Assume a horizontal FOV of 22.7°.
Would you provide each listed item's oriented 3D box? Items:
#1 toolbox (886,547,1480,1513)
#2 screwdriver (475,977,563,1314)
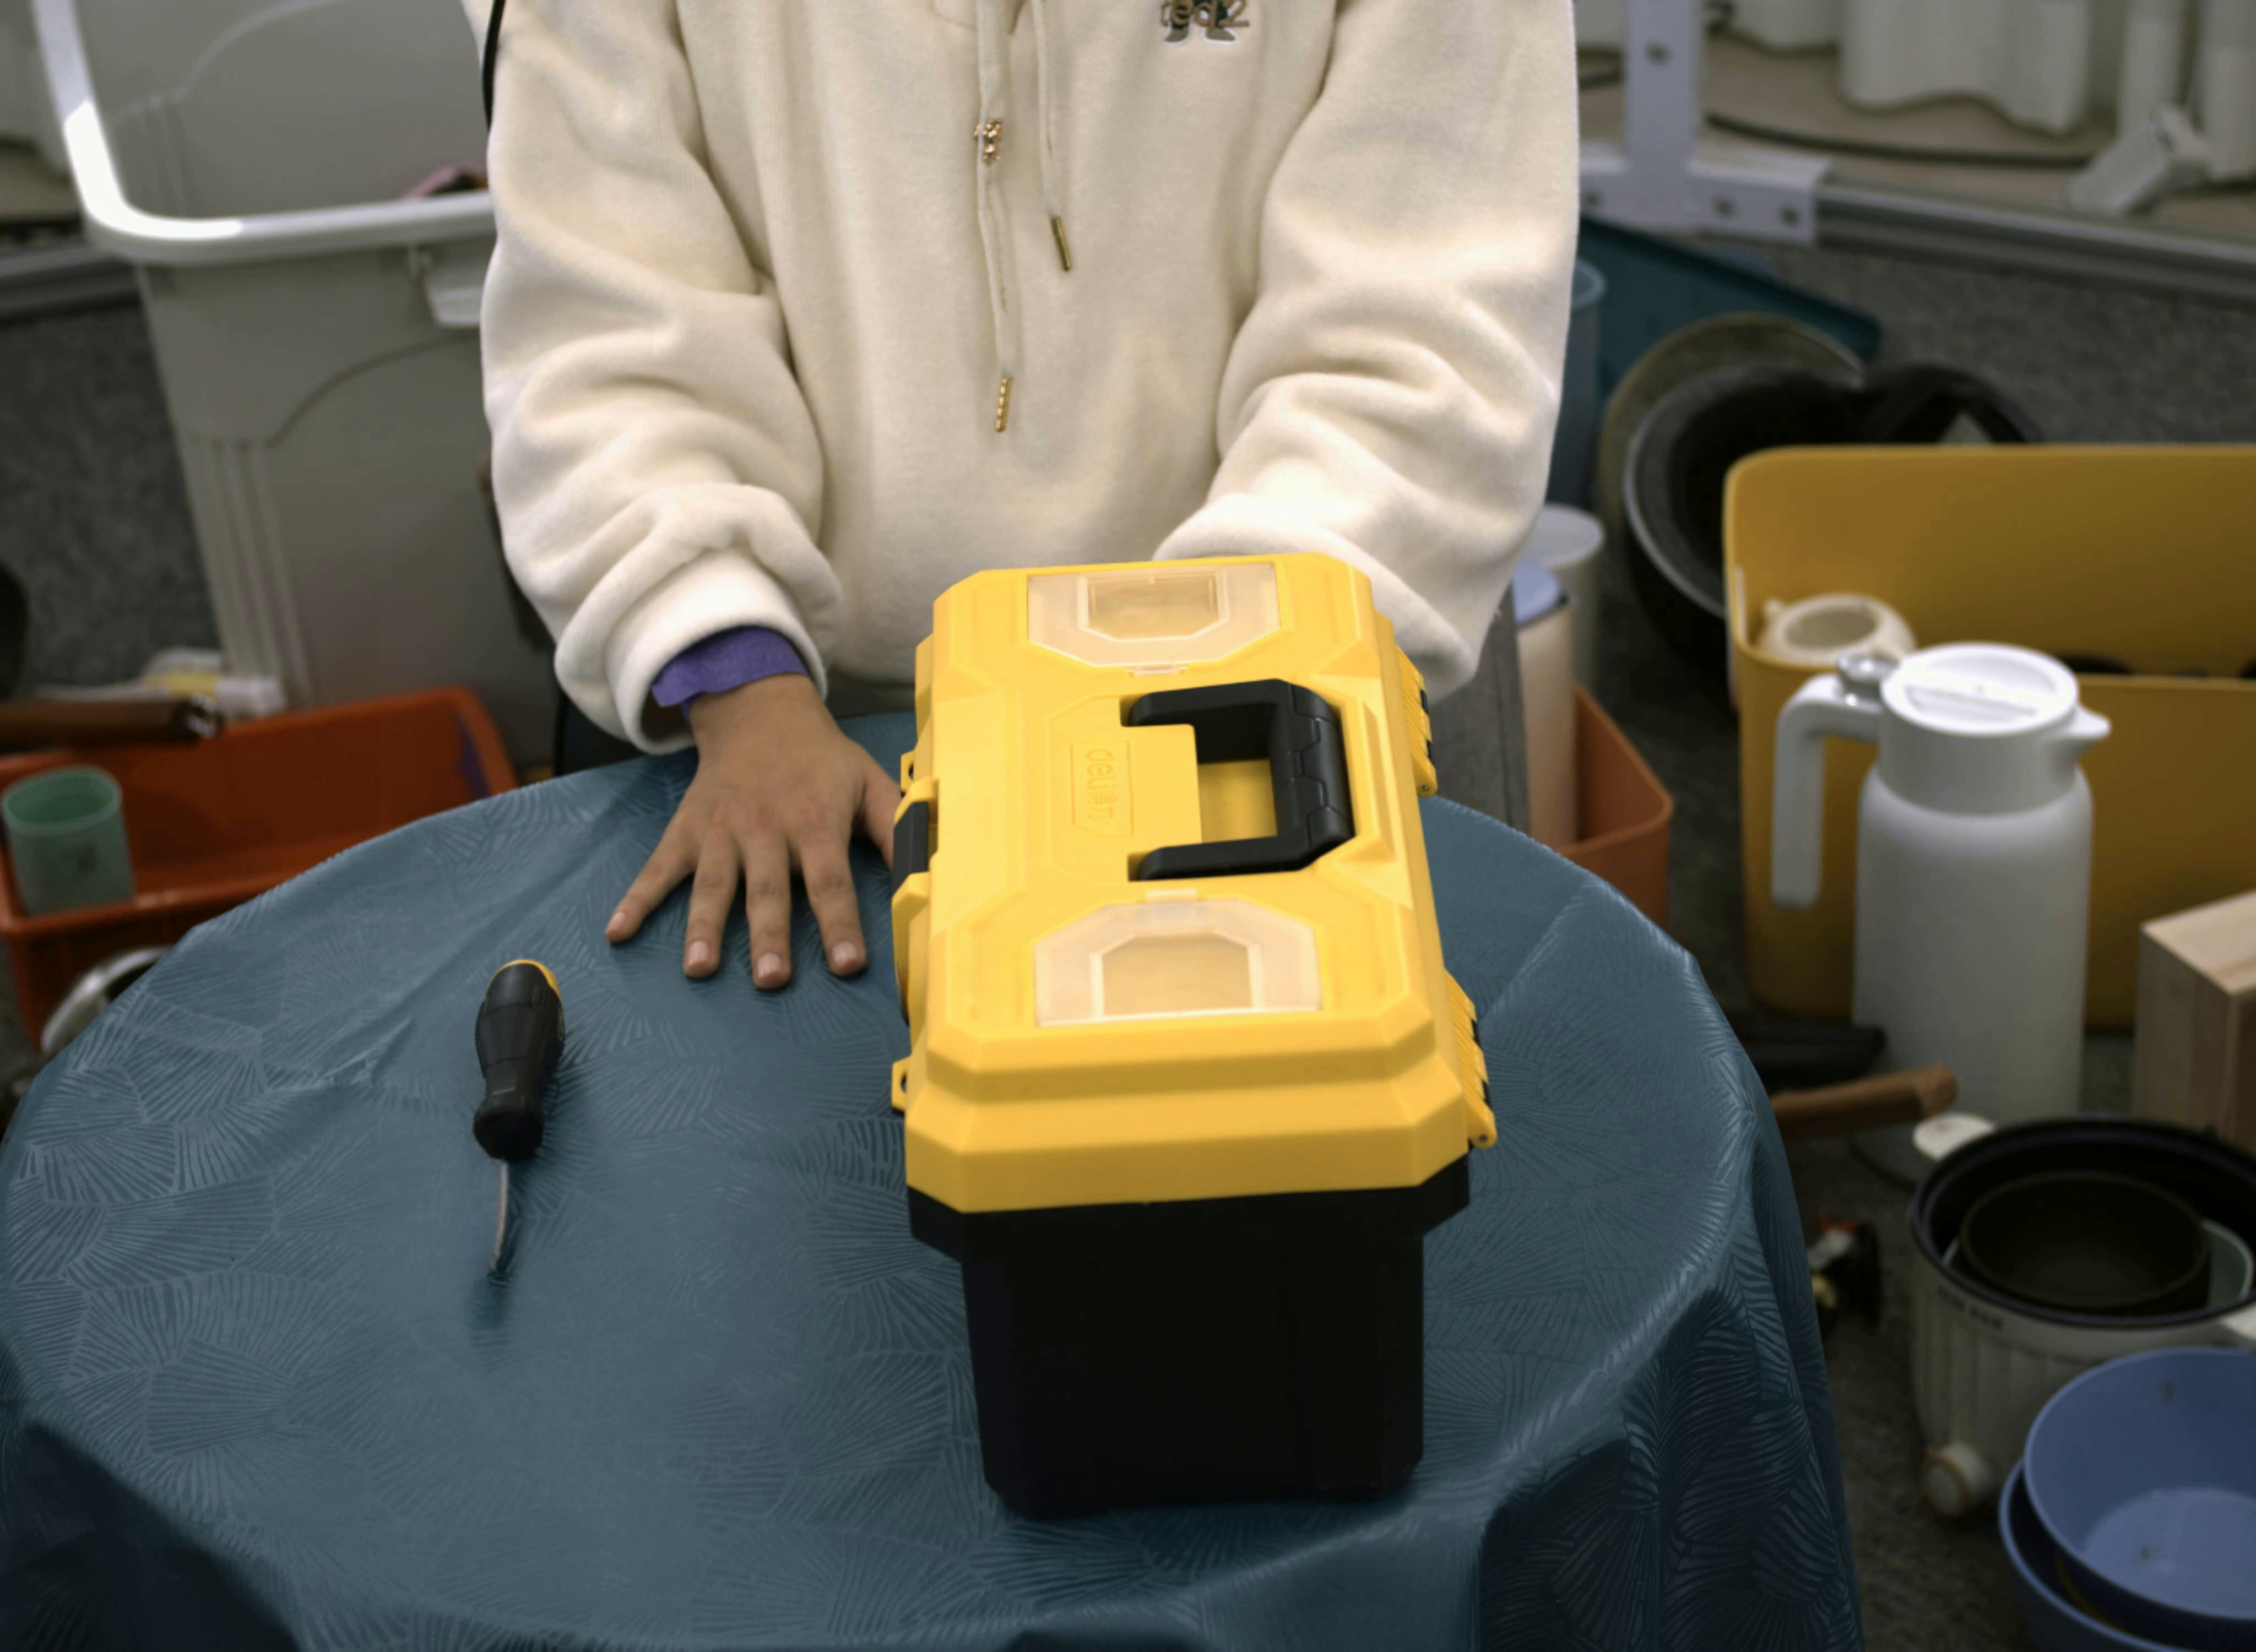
[{"bbox_3d":[0.016,0.058,1.796,0.180,0.171,0.357,-3,27,1],"label":"toolbox"},{"bbox_3d":[-0.210,0.111,1.892,0.031,0.031,0.201,-2,32,0],"label":"screwdriver"}]
